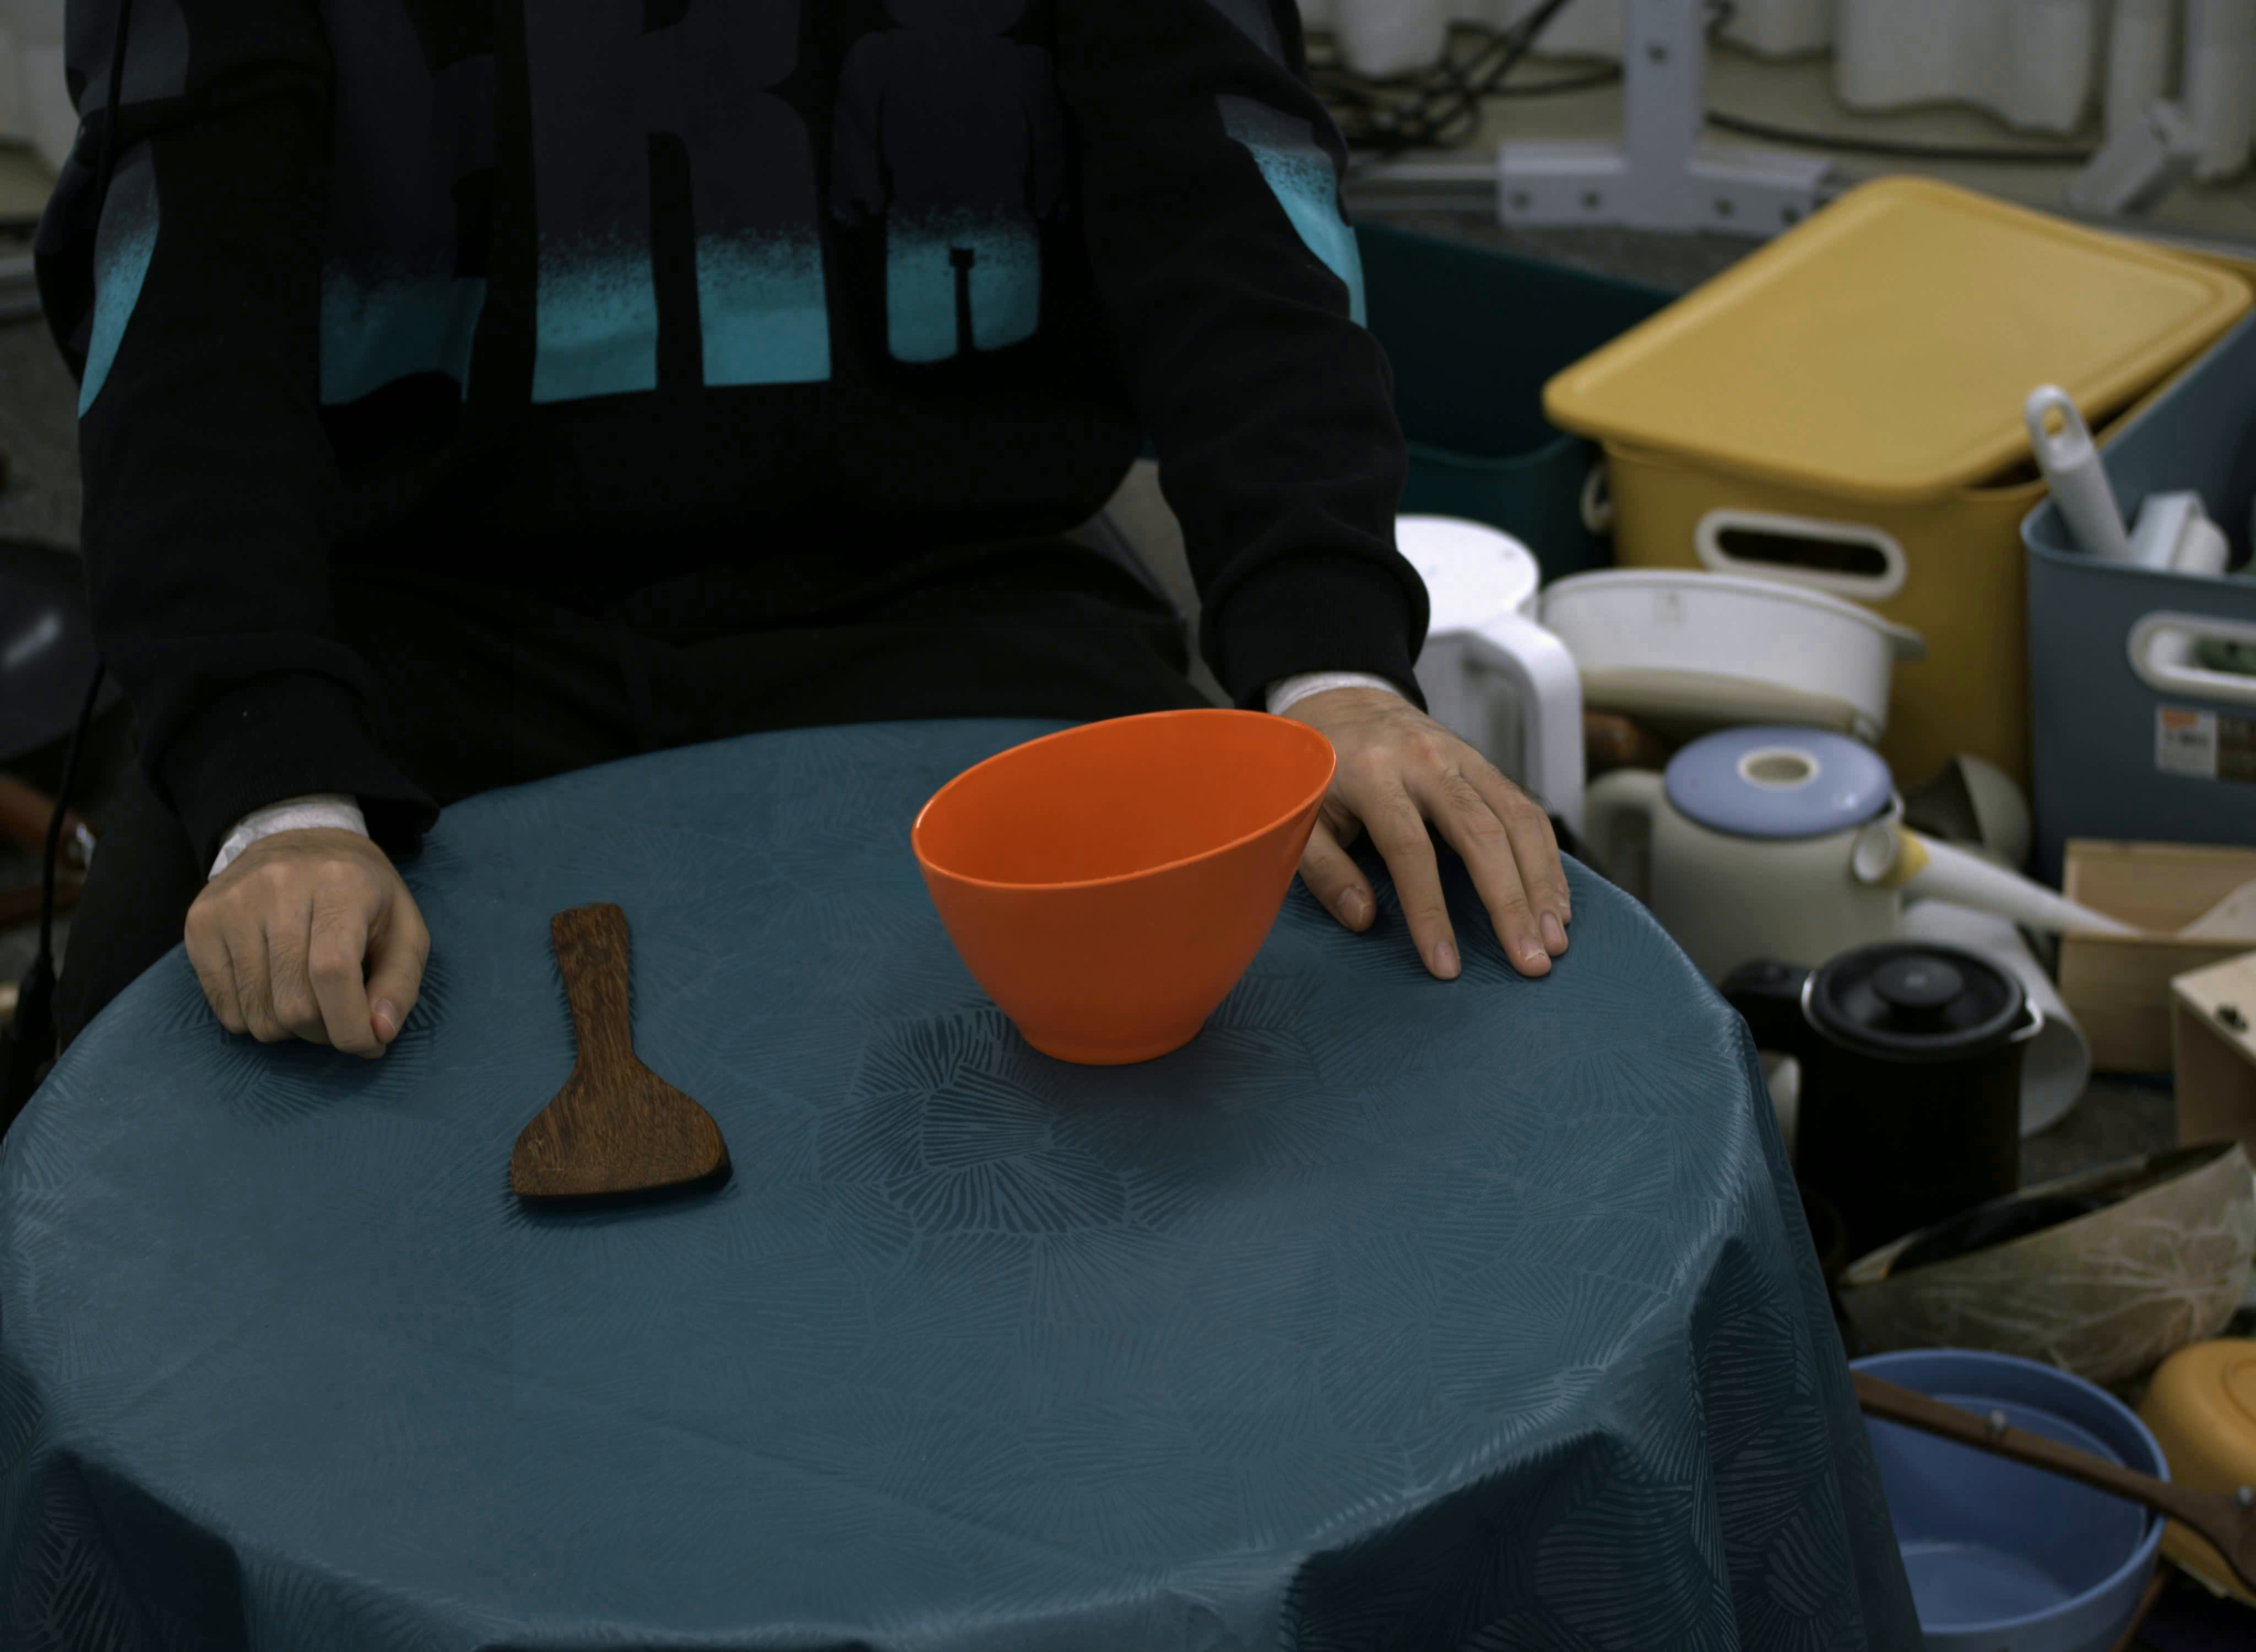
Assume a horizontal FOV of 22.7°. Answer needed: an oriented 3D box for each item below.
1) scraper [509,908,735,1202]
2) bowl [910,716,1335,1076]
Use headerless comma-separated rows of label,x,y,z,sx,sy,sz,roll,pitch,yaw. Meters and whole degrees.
scraper,-0.181,0.079,1.954,0.075,0.011,0.214,-5,27,-6
bowl,0.001,0.028,1.936,0.147,0.103,0.150,-4,26,2
